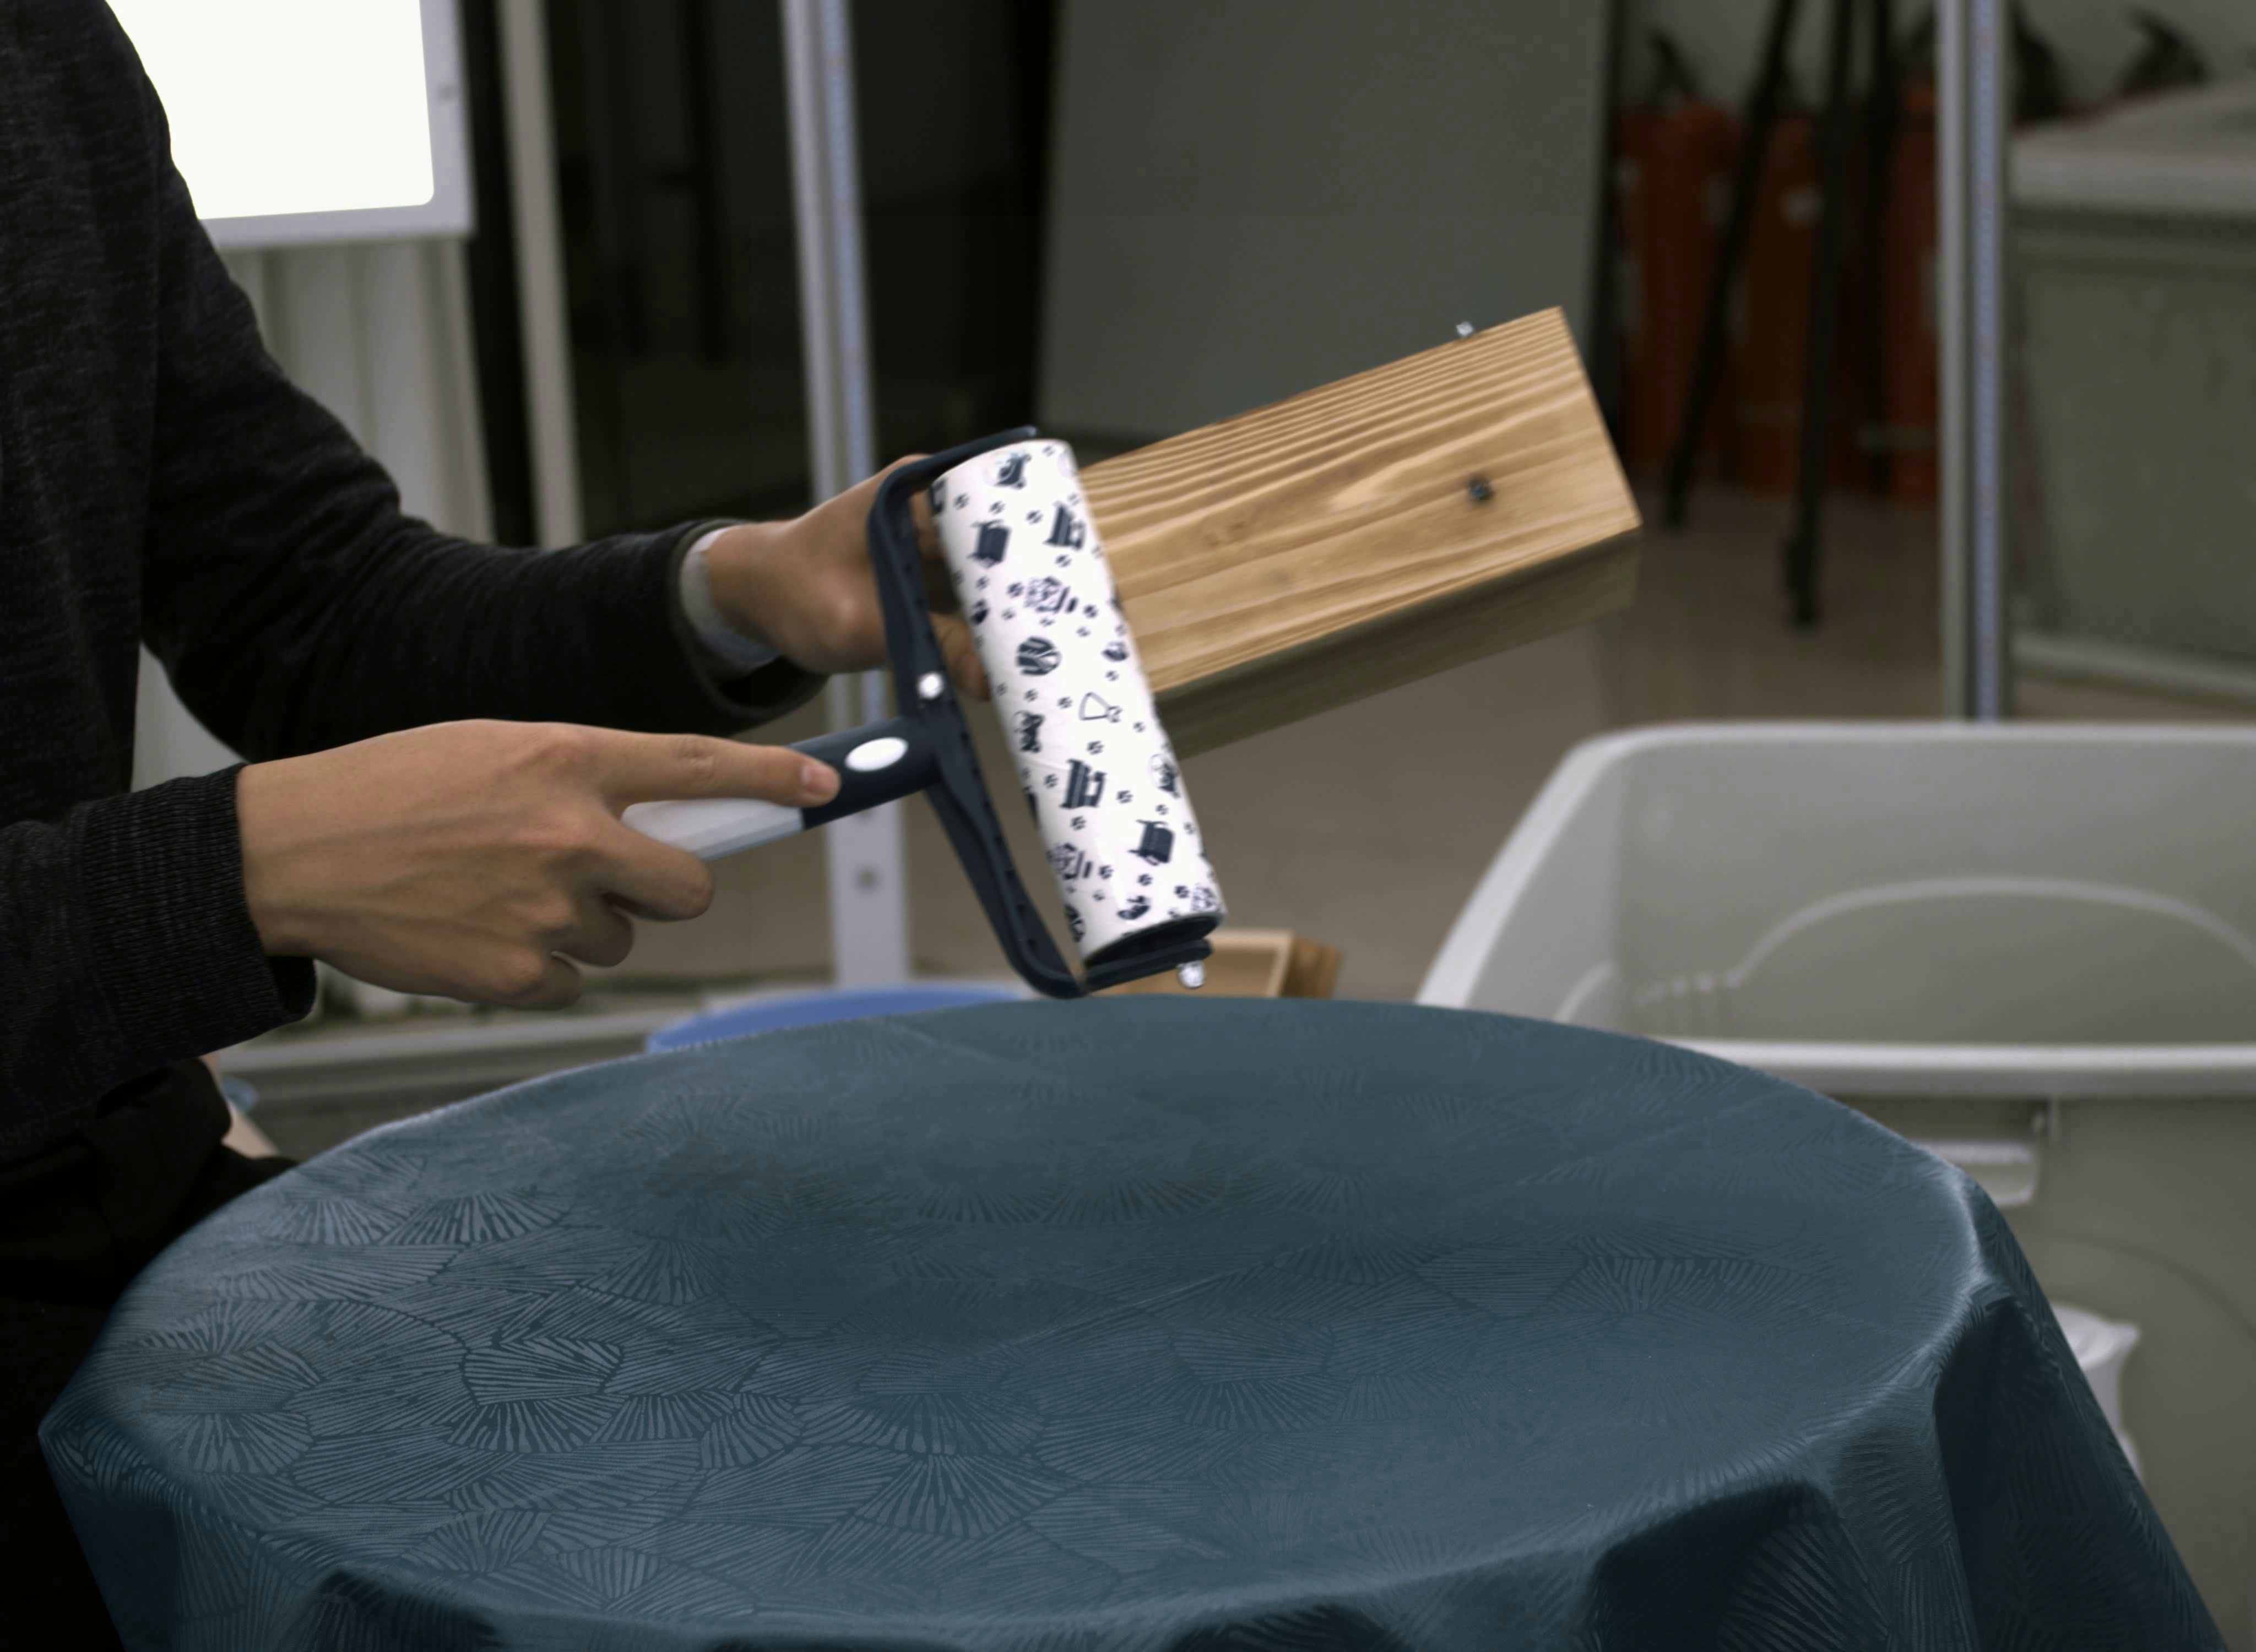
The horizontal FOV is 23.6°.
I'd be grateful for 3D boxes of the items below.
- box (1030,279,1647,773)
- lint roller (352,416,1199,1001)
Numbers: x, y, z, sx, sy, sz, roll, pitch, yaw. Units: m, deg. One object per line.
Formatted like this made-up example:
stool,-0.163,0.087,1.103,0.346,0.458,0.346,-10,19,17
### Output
box,0.057,-0.091,1.763,0.209,0.081,0.107,-19,-14,0
lint roller,-0.116,-0.008,1.639,0.243,0.178,0.050,-18,-11,-11
